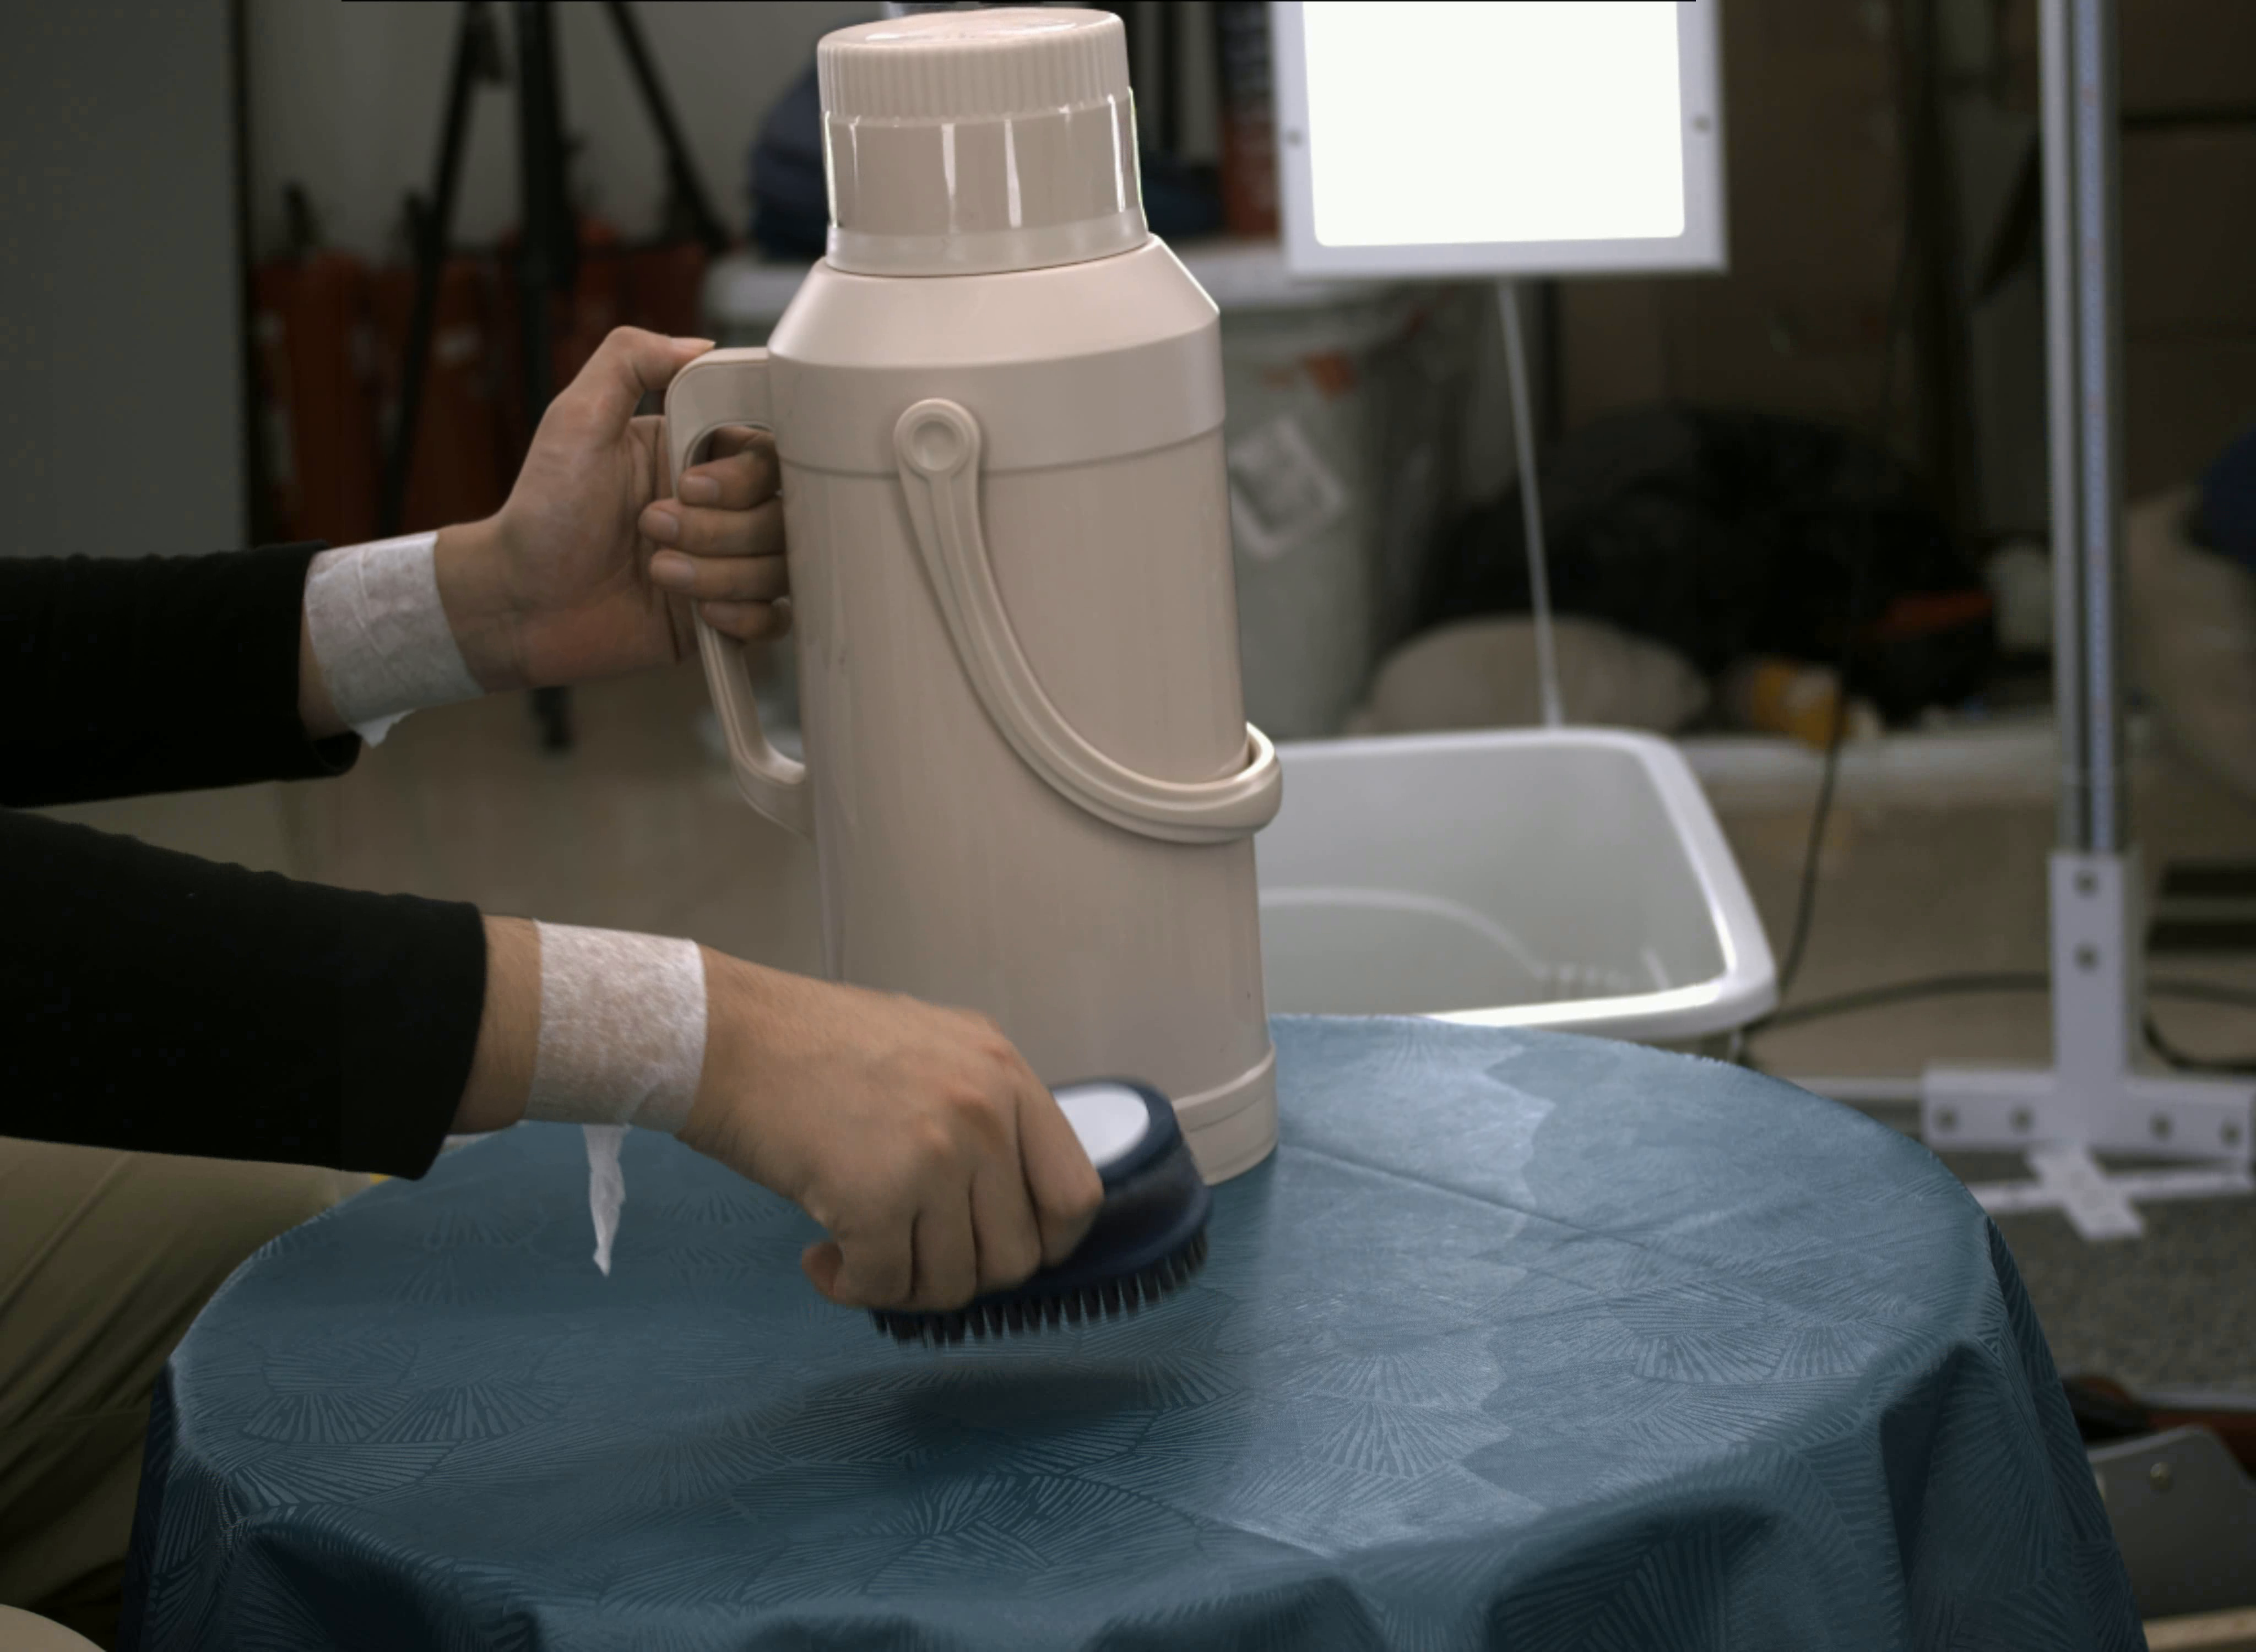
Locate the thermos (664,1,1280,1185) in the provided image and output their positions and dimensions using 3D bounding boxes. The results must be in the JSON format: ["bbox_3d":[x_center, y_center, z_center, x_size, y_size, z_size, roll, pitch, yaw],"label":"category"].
[{"bbox_3d":[-0.053,-0.077,1.913,0.209,0.408,0.173,-1,16,14],"label":"thermos"}]

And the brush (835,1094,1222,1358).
[{"bbox_3d":[-0.030,0.126,1.701,0.122,0.061,0.067,-9,29,14],"label":"brush"}]
